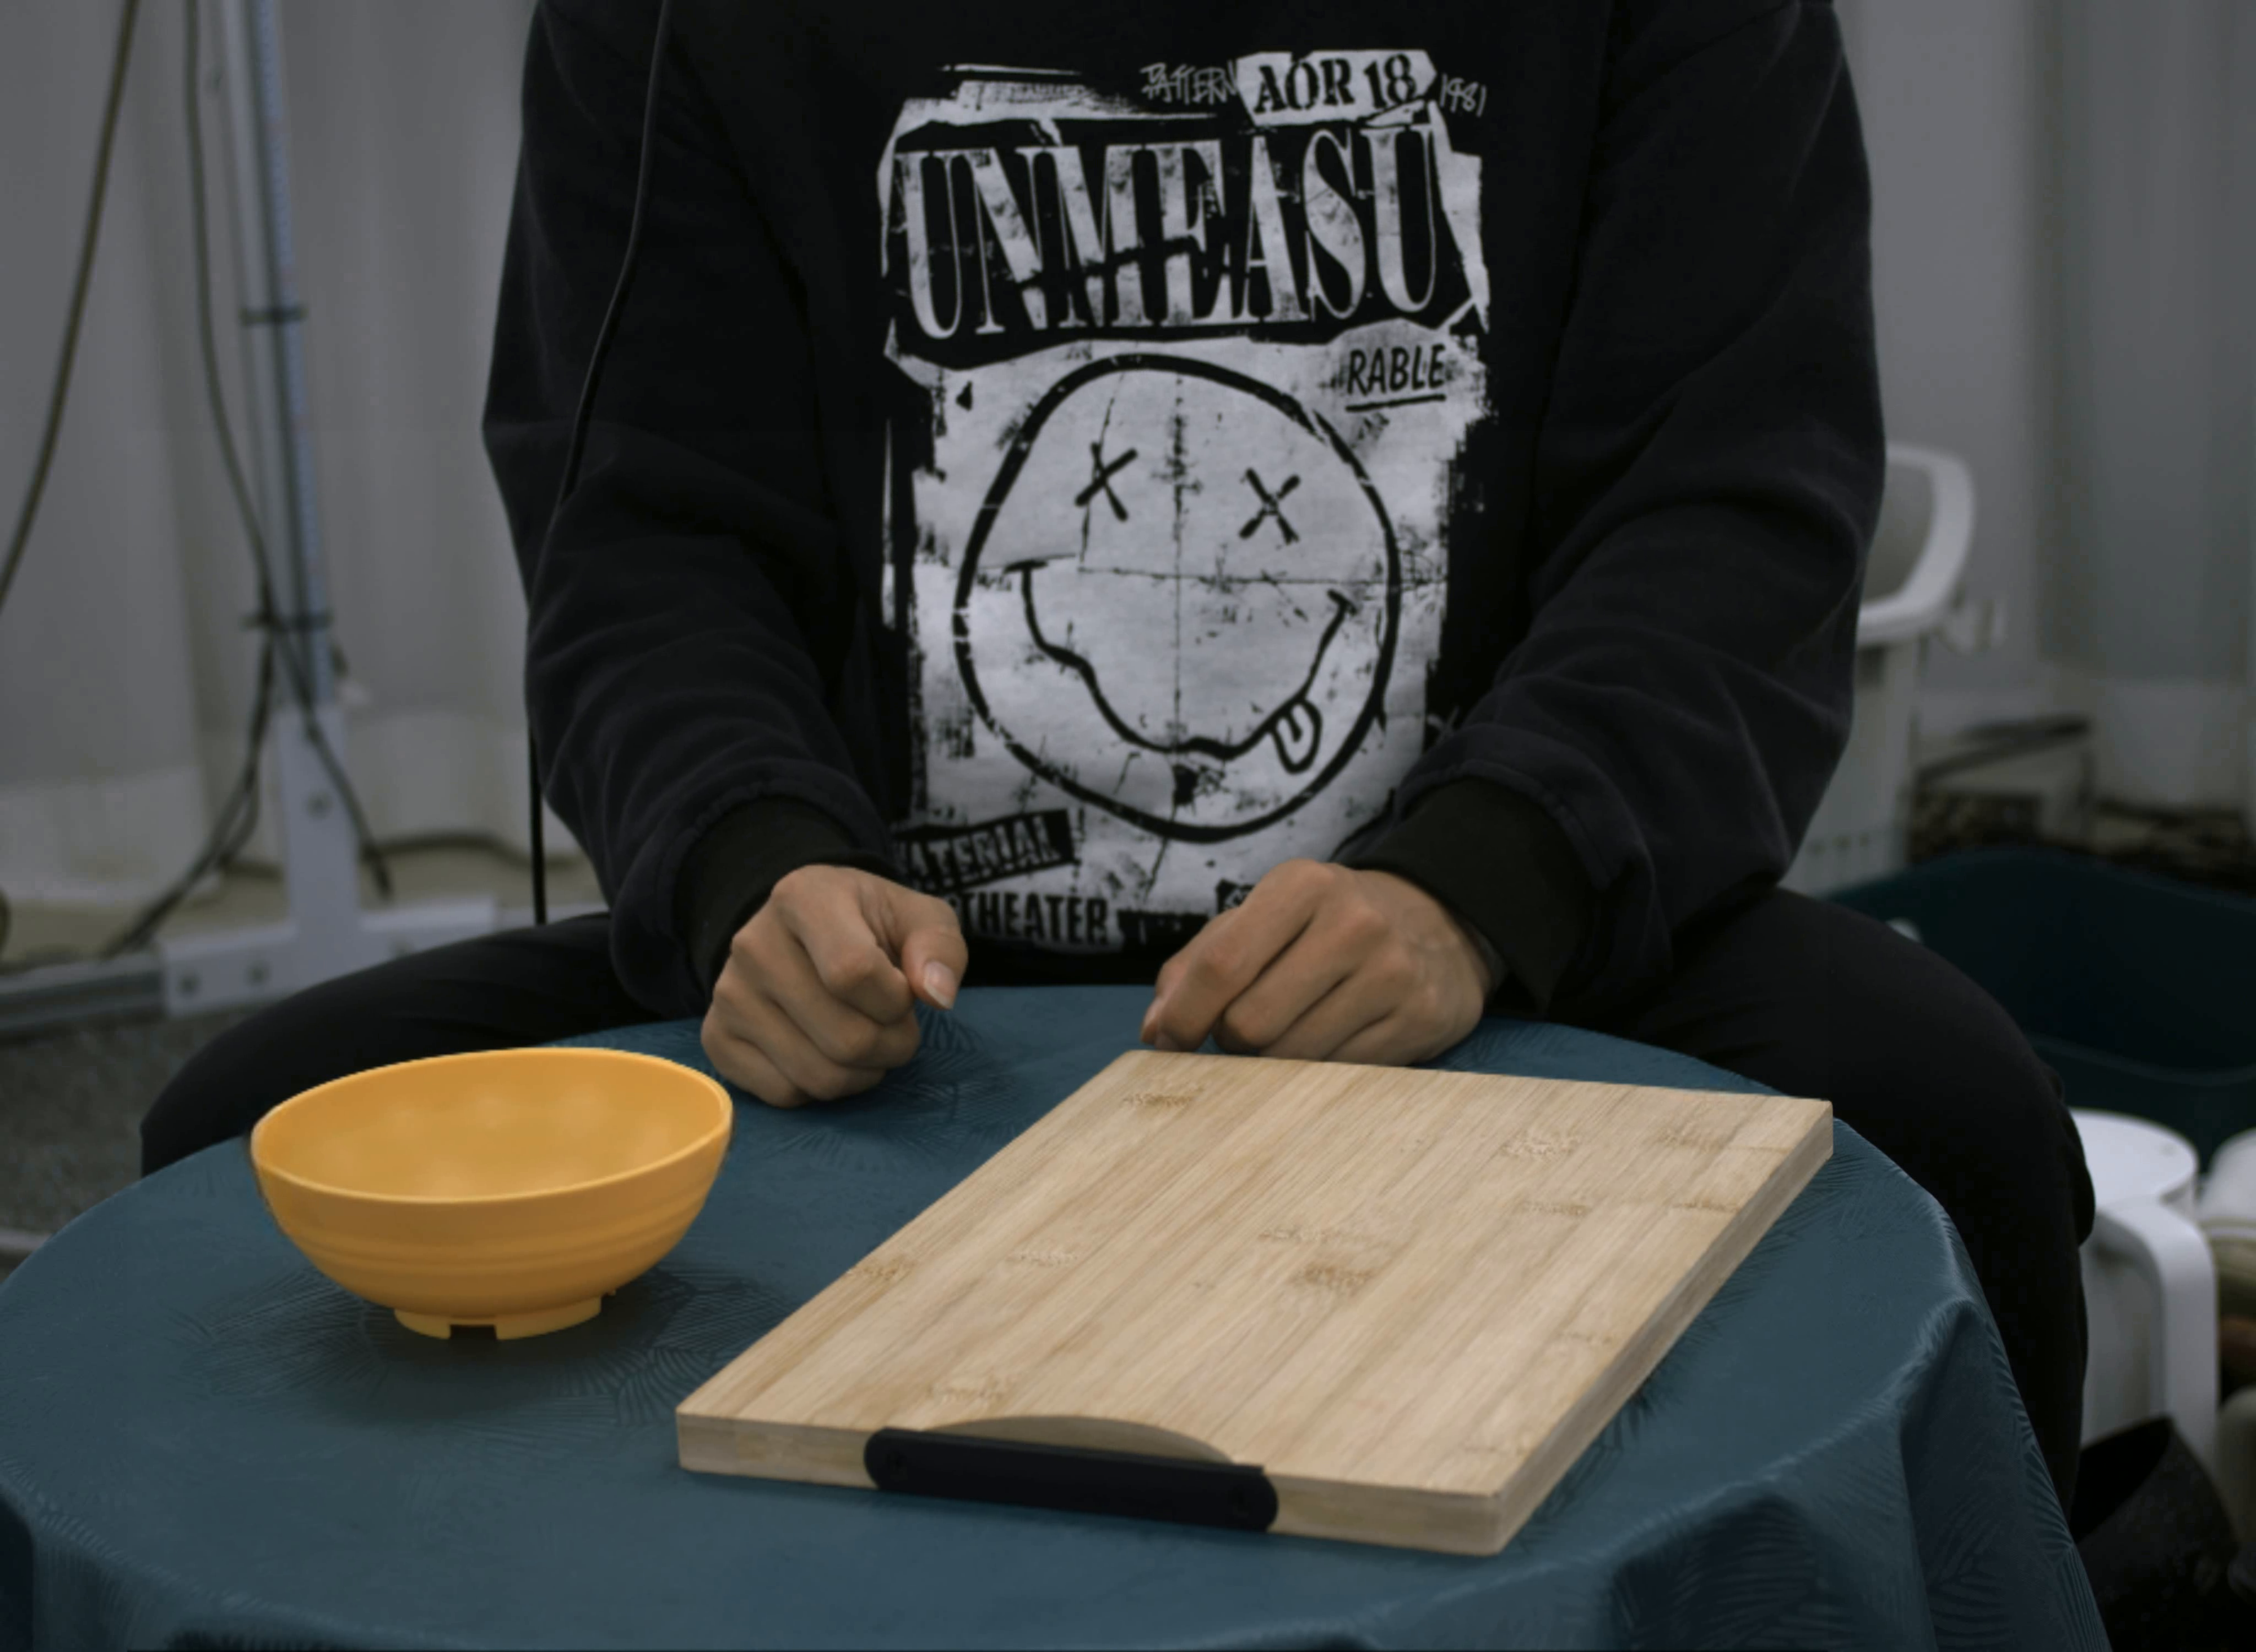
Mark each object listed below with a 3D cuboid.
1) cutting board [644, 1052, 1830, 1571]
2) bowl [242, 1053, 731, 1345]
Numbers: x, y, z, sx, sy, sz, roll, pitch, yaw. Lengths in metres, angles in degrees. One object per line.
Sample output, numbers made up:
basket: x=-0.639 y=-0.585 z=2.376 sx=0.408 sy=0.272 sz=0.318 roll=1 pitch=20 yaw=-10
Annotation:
cutting board: x=0.045 y=0.134 z=1.602 sx=0.251 sy=0.023 sz=0.349 roll=3 pitch=16 yaw=21
bowl: x=-0.191 y=0.117 z=1.636 sx=0.145 sy=0.060 sz=0.146 roll=0 pitch=14 yaw=0
